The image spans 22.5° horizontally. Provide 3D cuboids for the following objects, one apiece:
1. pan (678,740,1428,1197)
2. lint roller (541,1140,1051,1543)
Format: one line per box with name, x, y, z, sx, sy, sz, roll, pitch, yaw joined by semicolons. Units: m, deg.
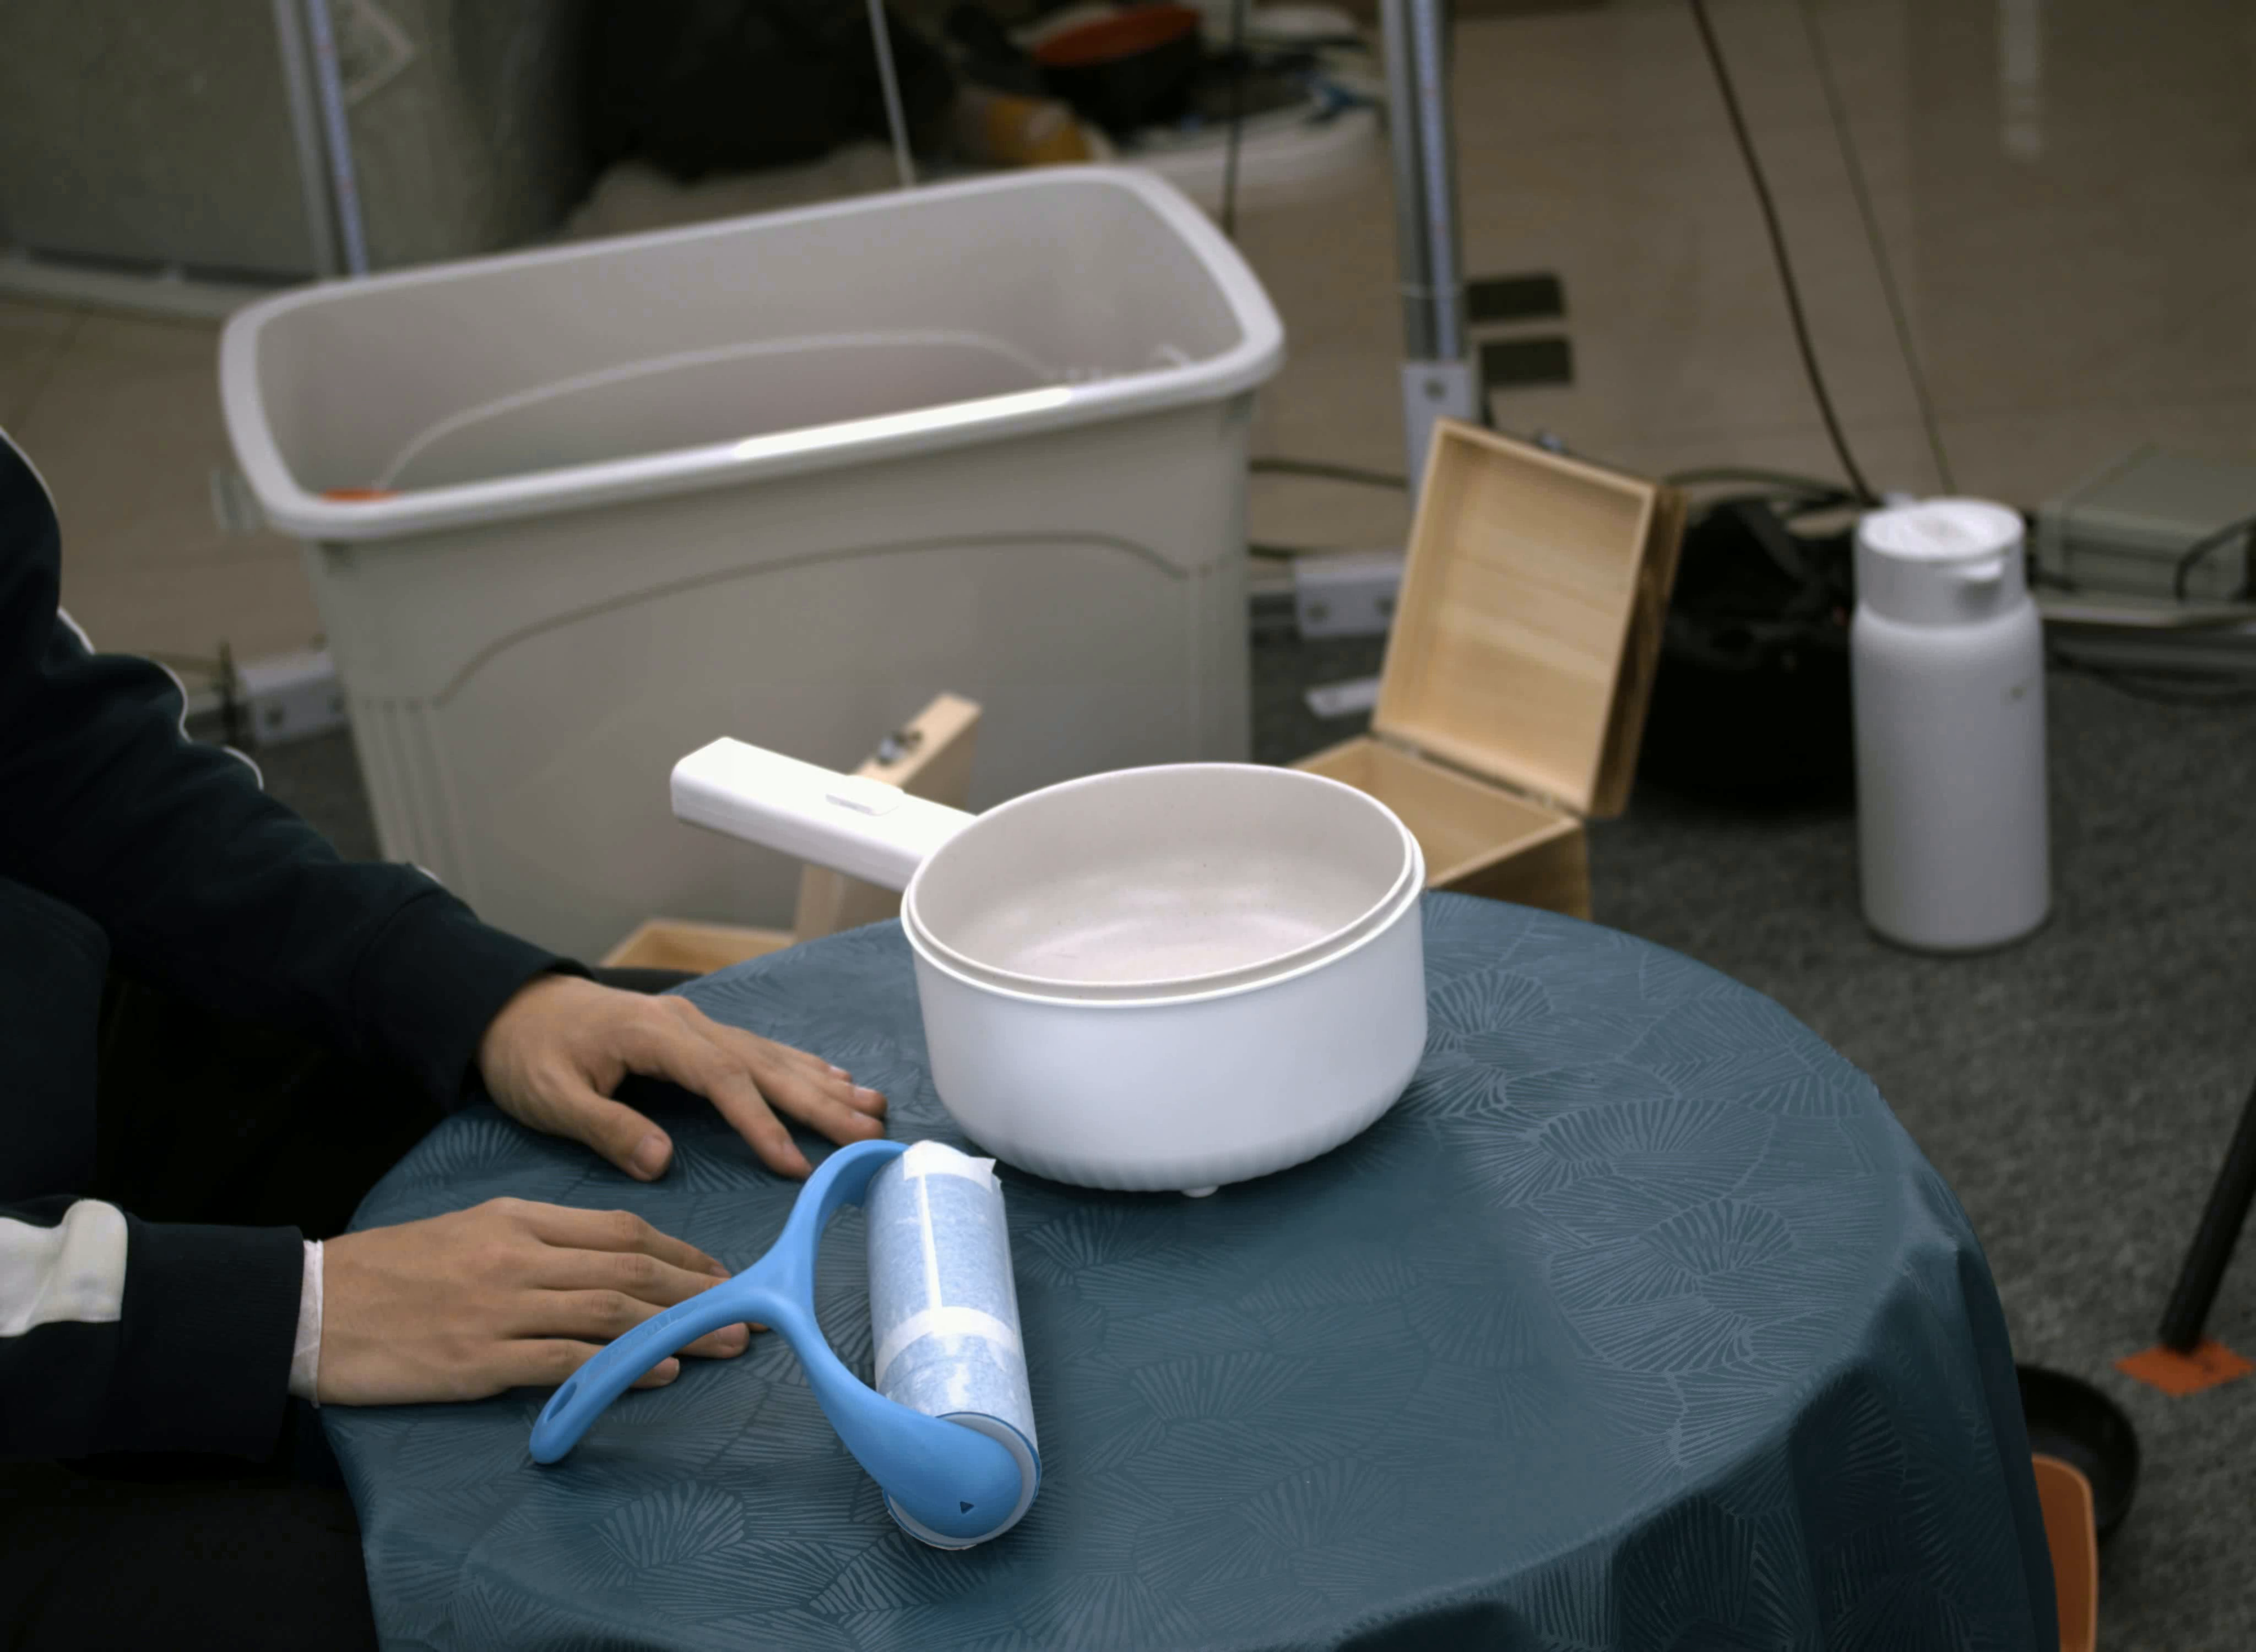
pan;-0.040;0.047;2.232;0.352;0.104;0.199;15;33;40
lint roller;-0.121;0.188;2.001;0.180;0.069;0.225;-8;27;-5
